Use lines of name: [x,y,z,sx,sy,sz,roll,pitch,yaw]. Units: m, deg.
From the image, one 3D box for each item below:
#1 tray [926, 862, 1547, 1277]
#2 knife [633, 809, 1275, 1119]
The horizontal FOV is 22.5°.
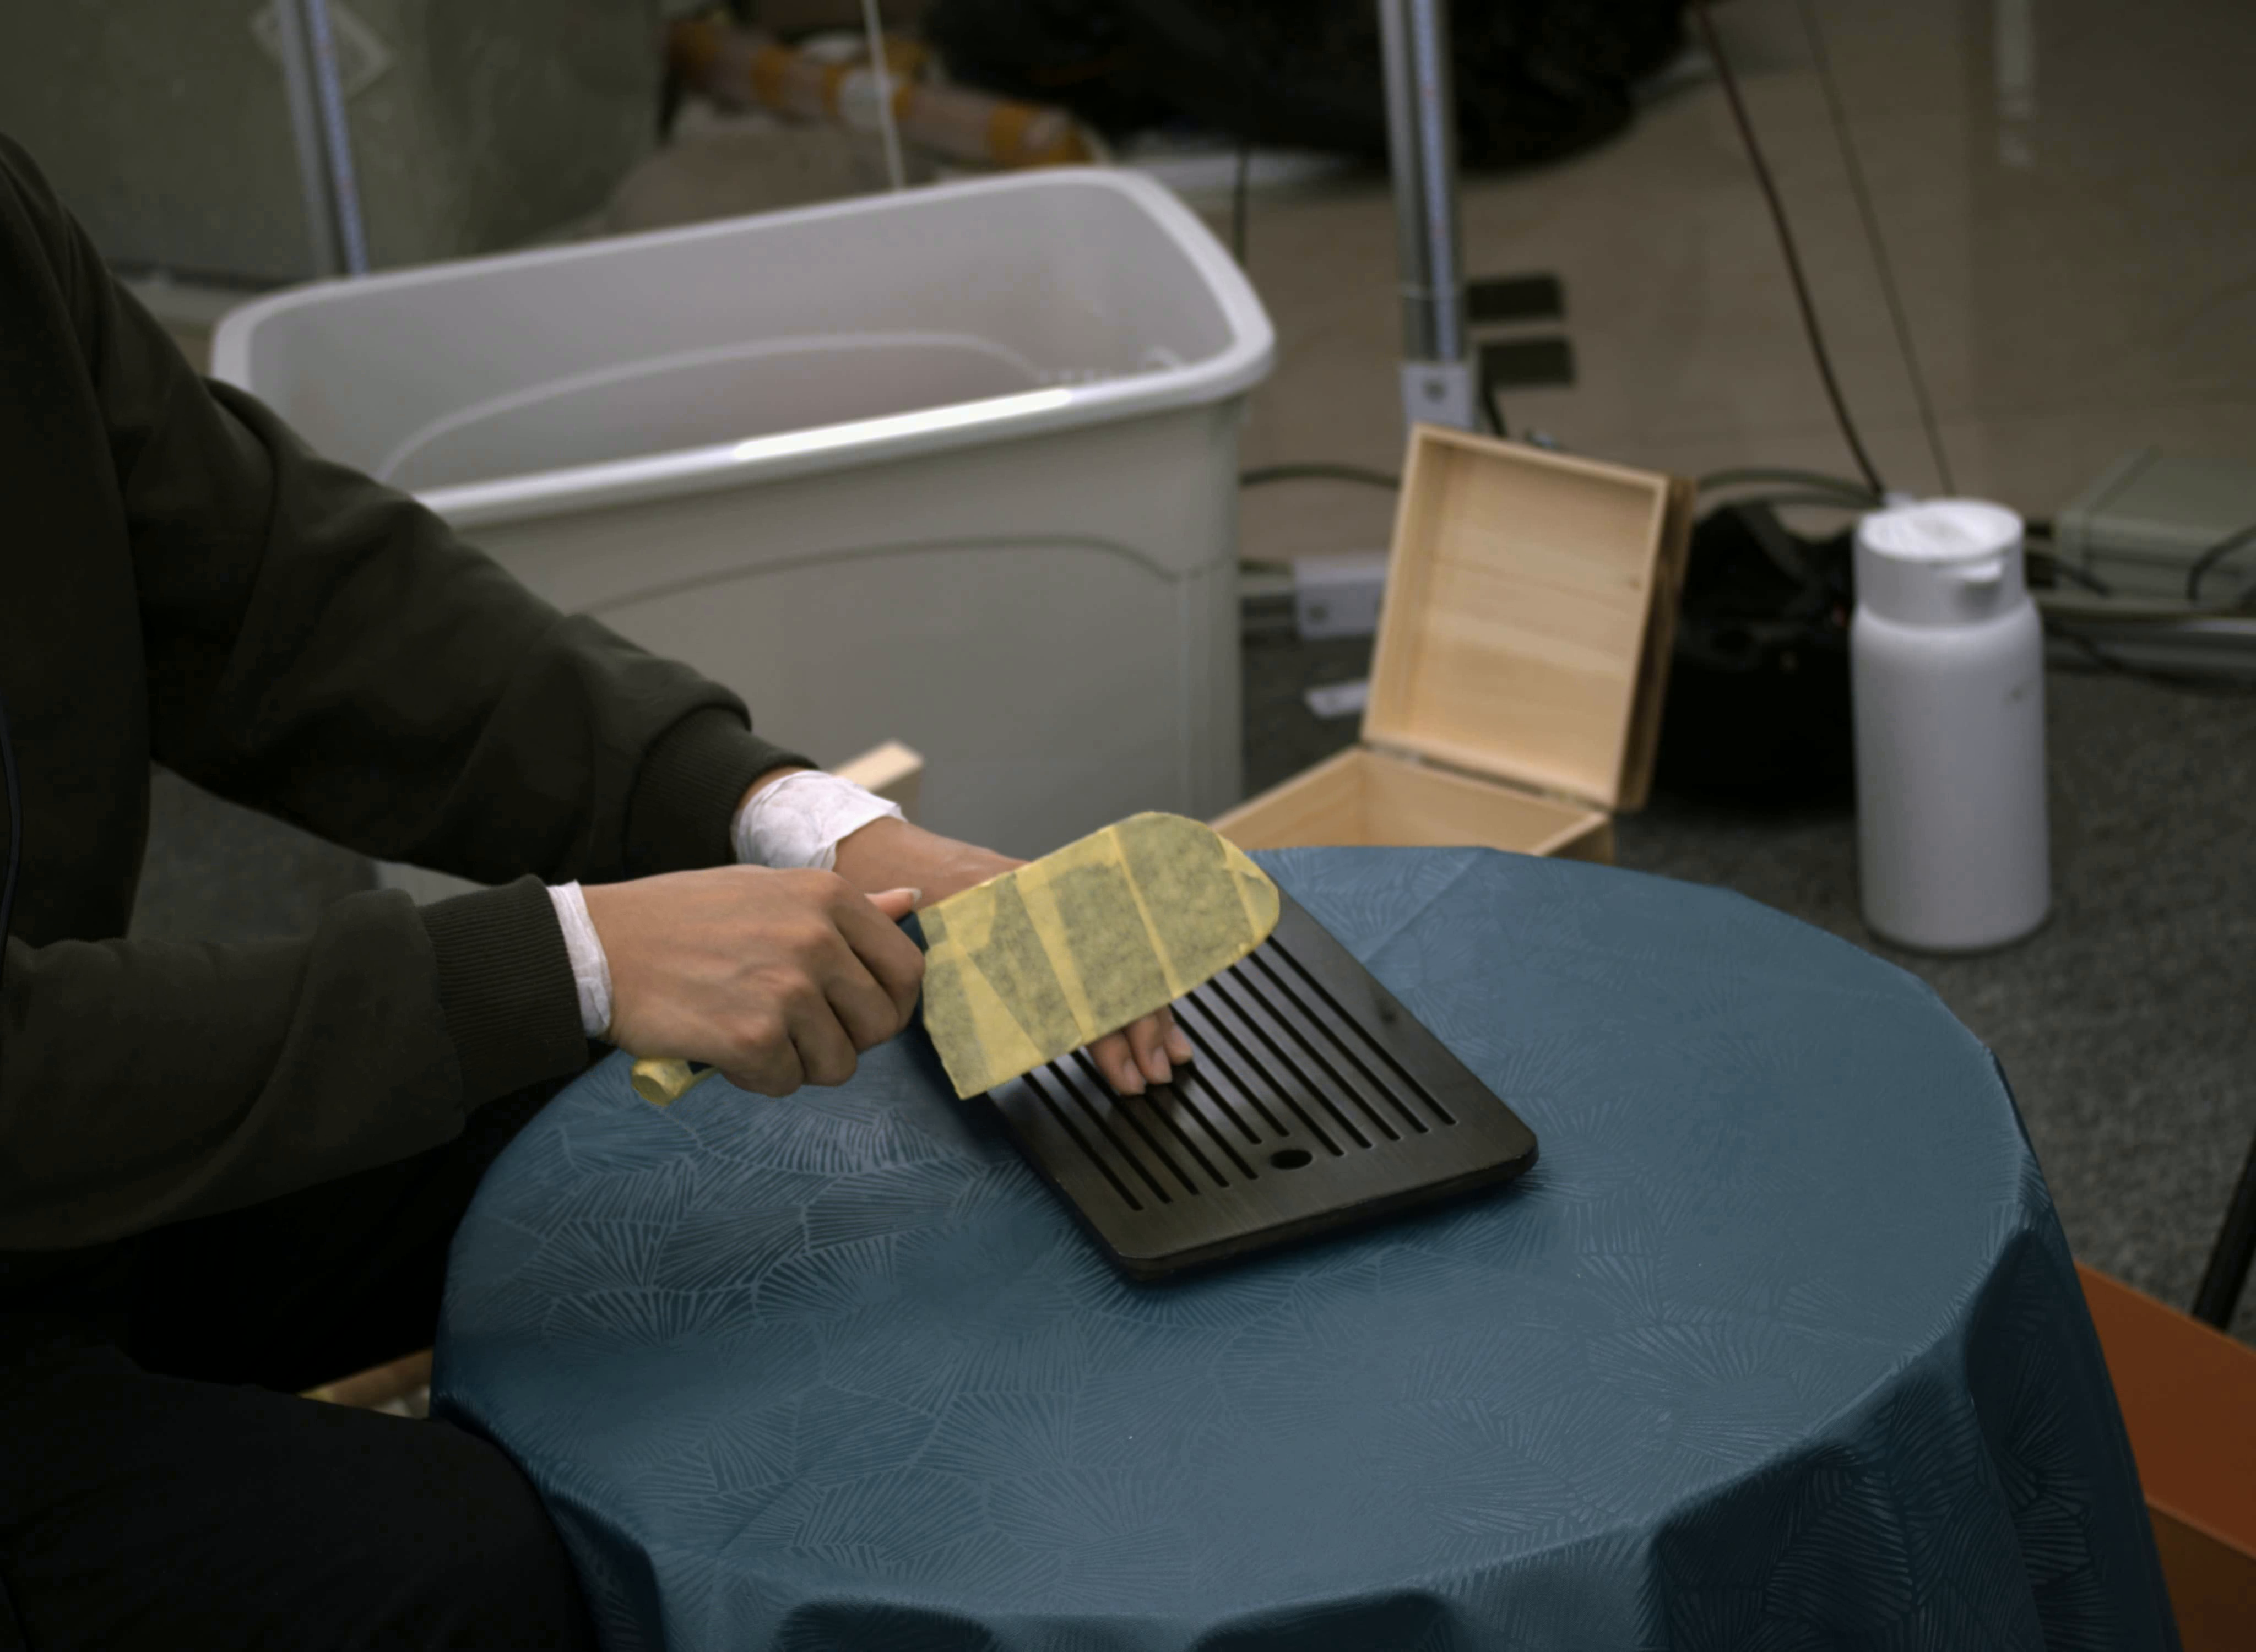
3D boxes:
tray: [0.030,0.092,2.223,0.169,0.019,0.302,-15,26,-16]
knife: [-0.060,0.062,2.152,0.287,0.081,0.027,-21,1,-29]
